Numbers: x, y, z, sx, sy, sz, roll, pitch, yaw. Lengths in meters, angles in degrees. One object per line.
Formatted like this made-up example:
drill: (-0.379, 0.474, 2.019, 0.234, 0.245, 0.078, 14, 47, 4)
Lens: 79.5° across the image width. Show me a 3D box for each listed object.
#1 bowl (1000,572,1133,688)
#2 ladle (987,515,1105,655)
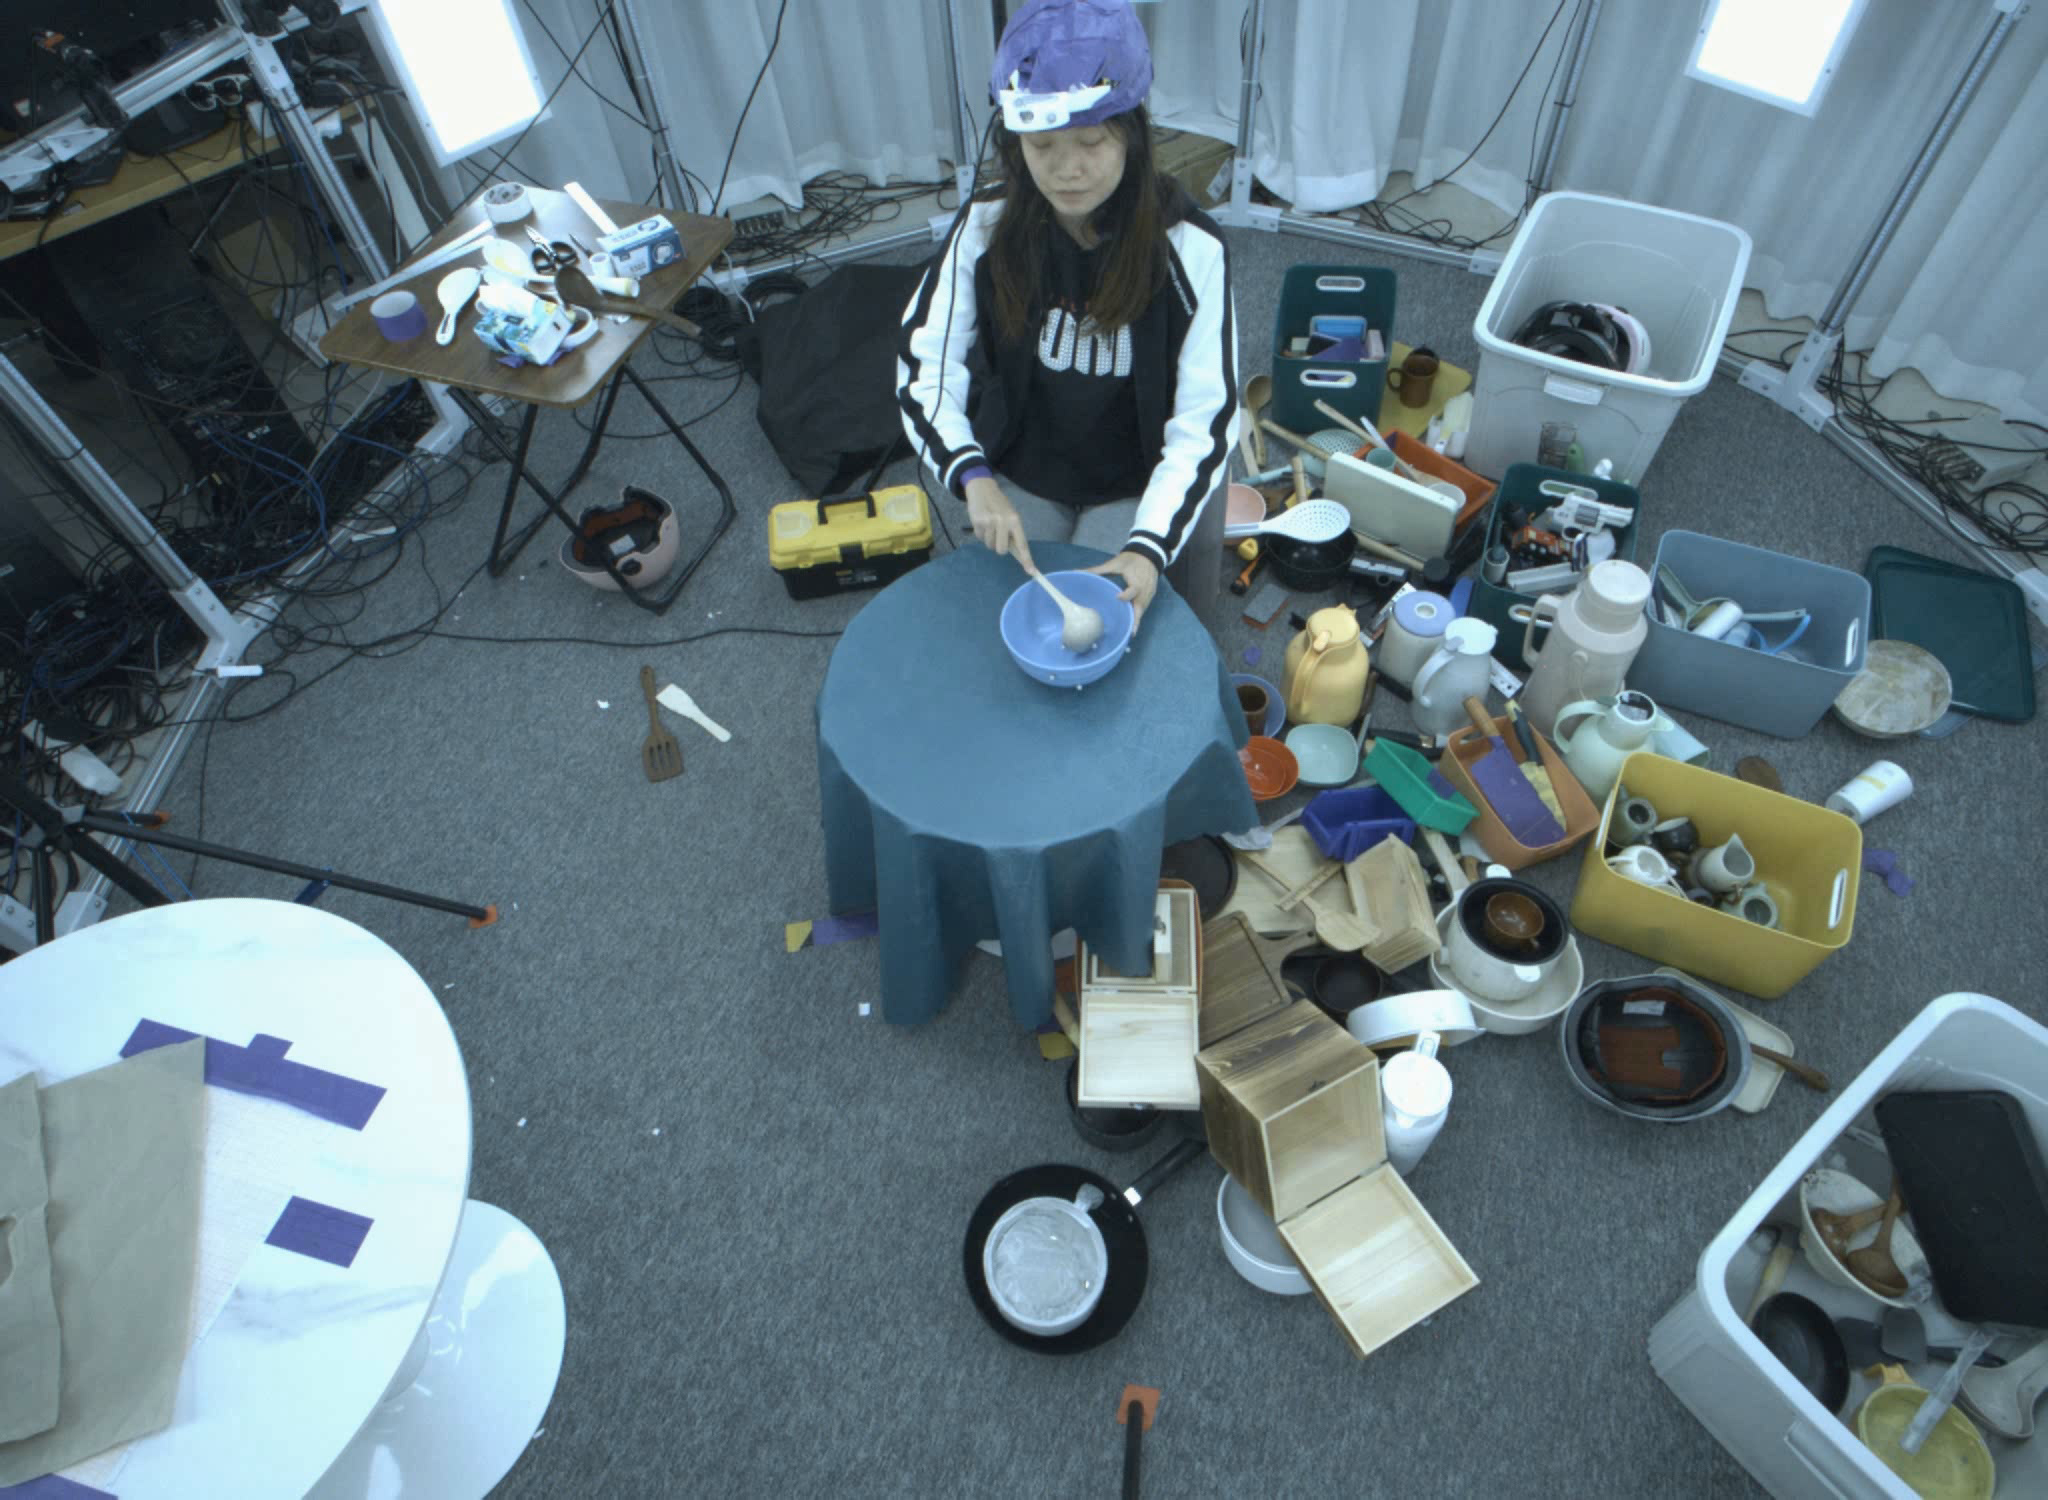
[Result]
bowl: (0.066, -0.165, 1.846, 0.196, 0.096, 0.194, -2, 54, 4)
ladle: (0.025, -0.251, 1.868, 0.072, 0.073, 0.252, -38, 79, -10)
